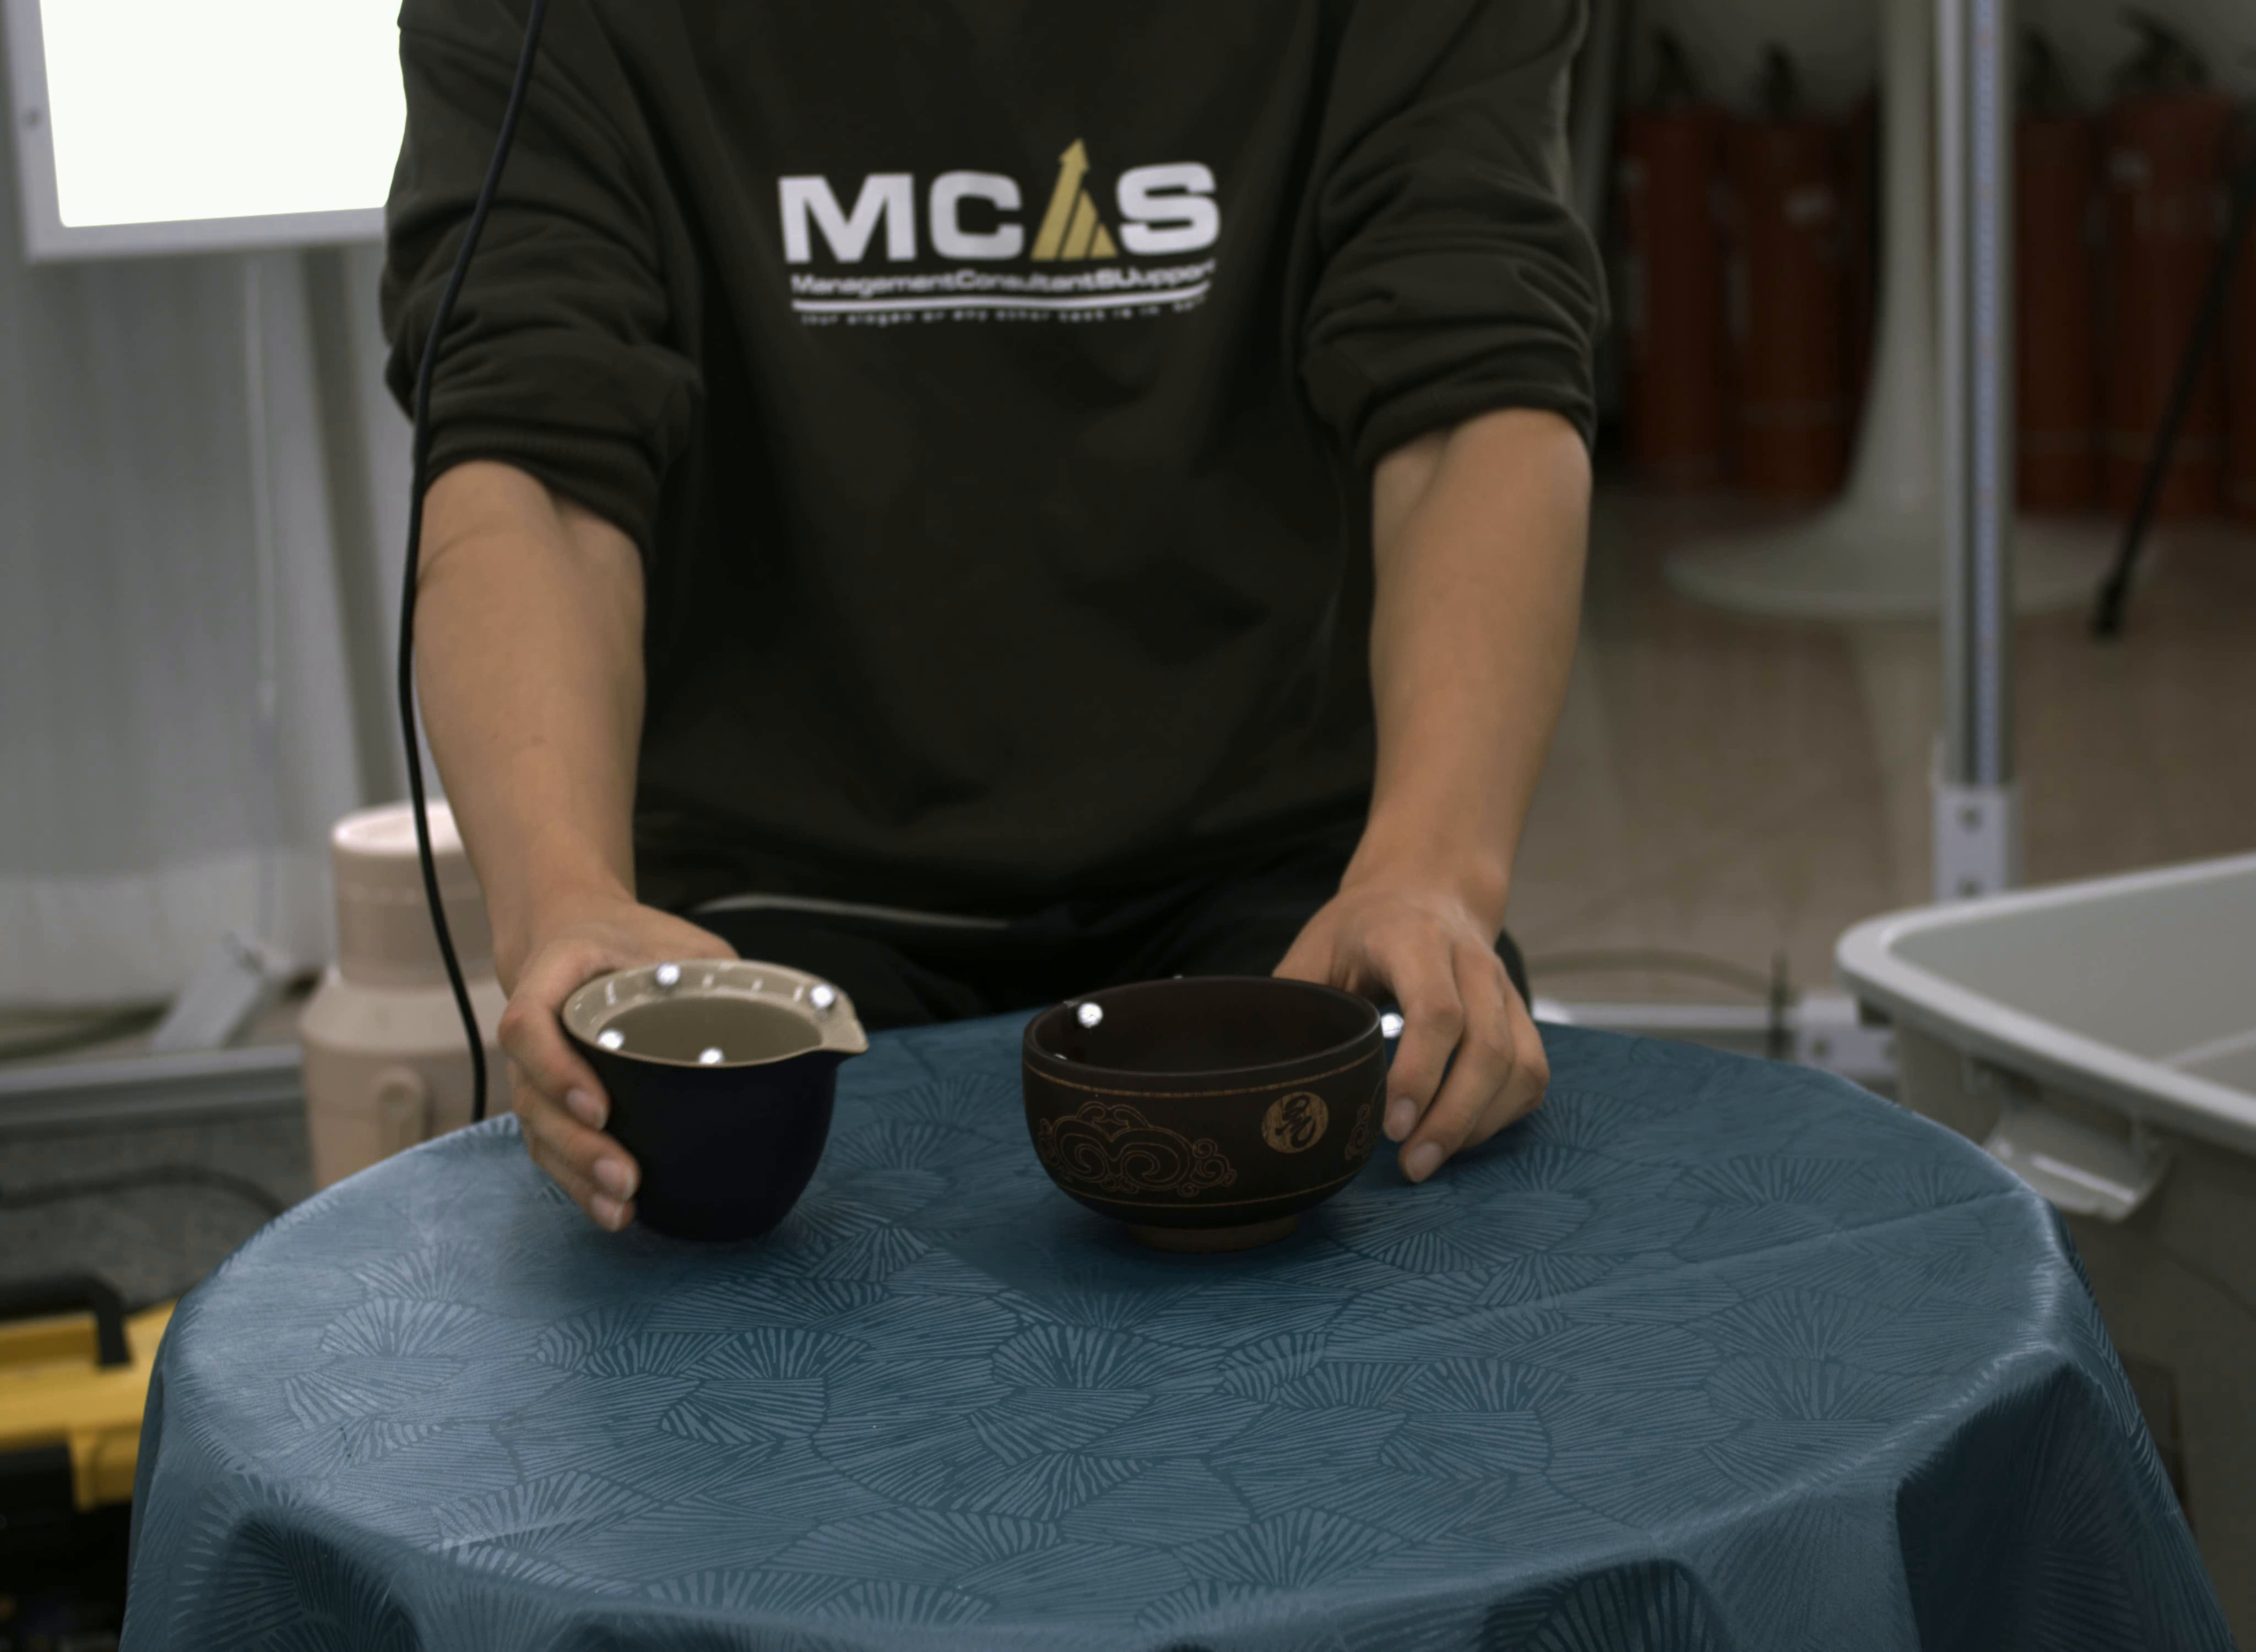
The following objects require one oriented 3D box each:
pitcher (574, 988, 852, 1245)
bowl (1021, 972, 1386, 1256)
[{"bbox_3d":[-0.132,0.094,1.742,0.096,0.072,0.082,10,18,27],"label":"pitcher"},{"bbox_3d":[0.025,0.096,1.726,0.116,0.070,0.118,-4,15,0],"label":"bowl"}]
